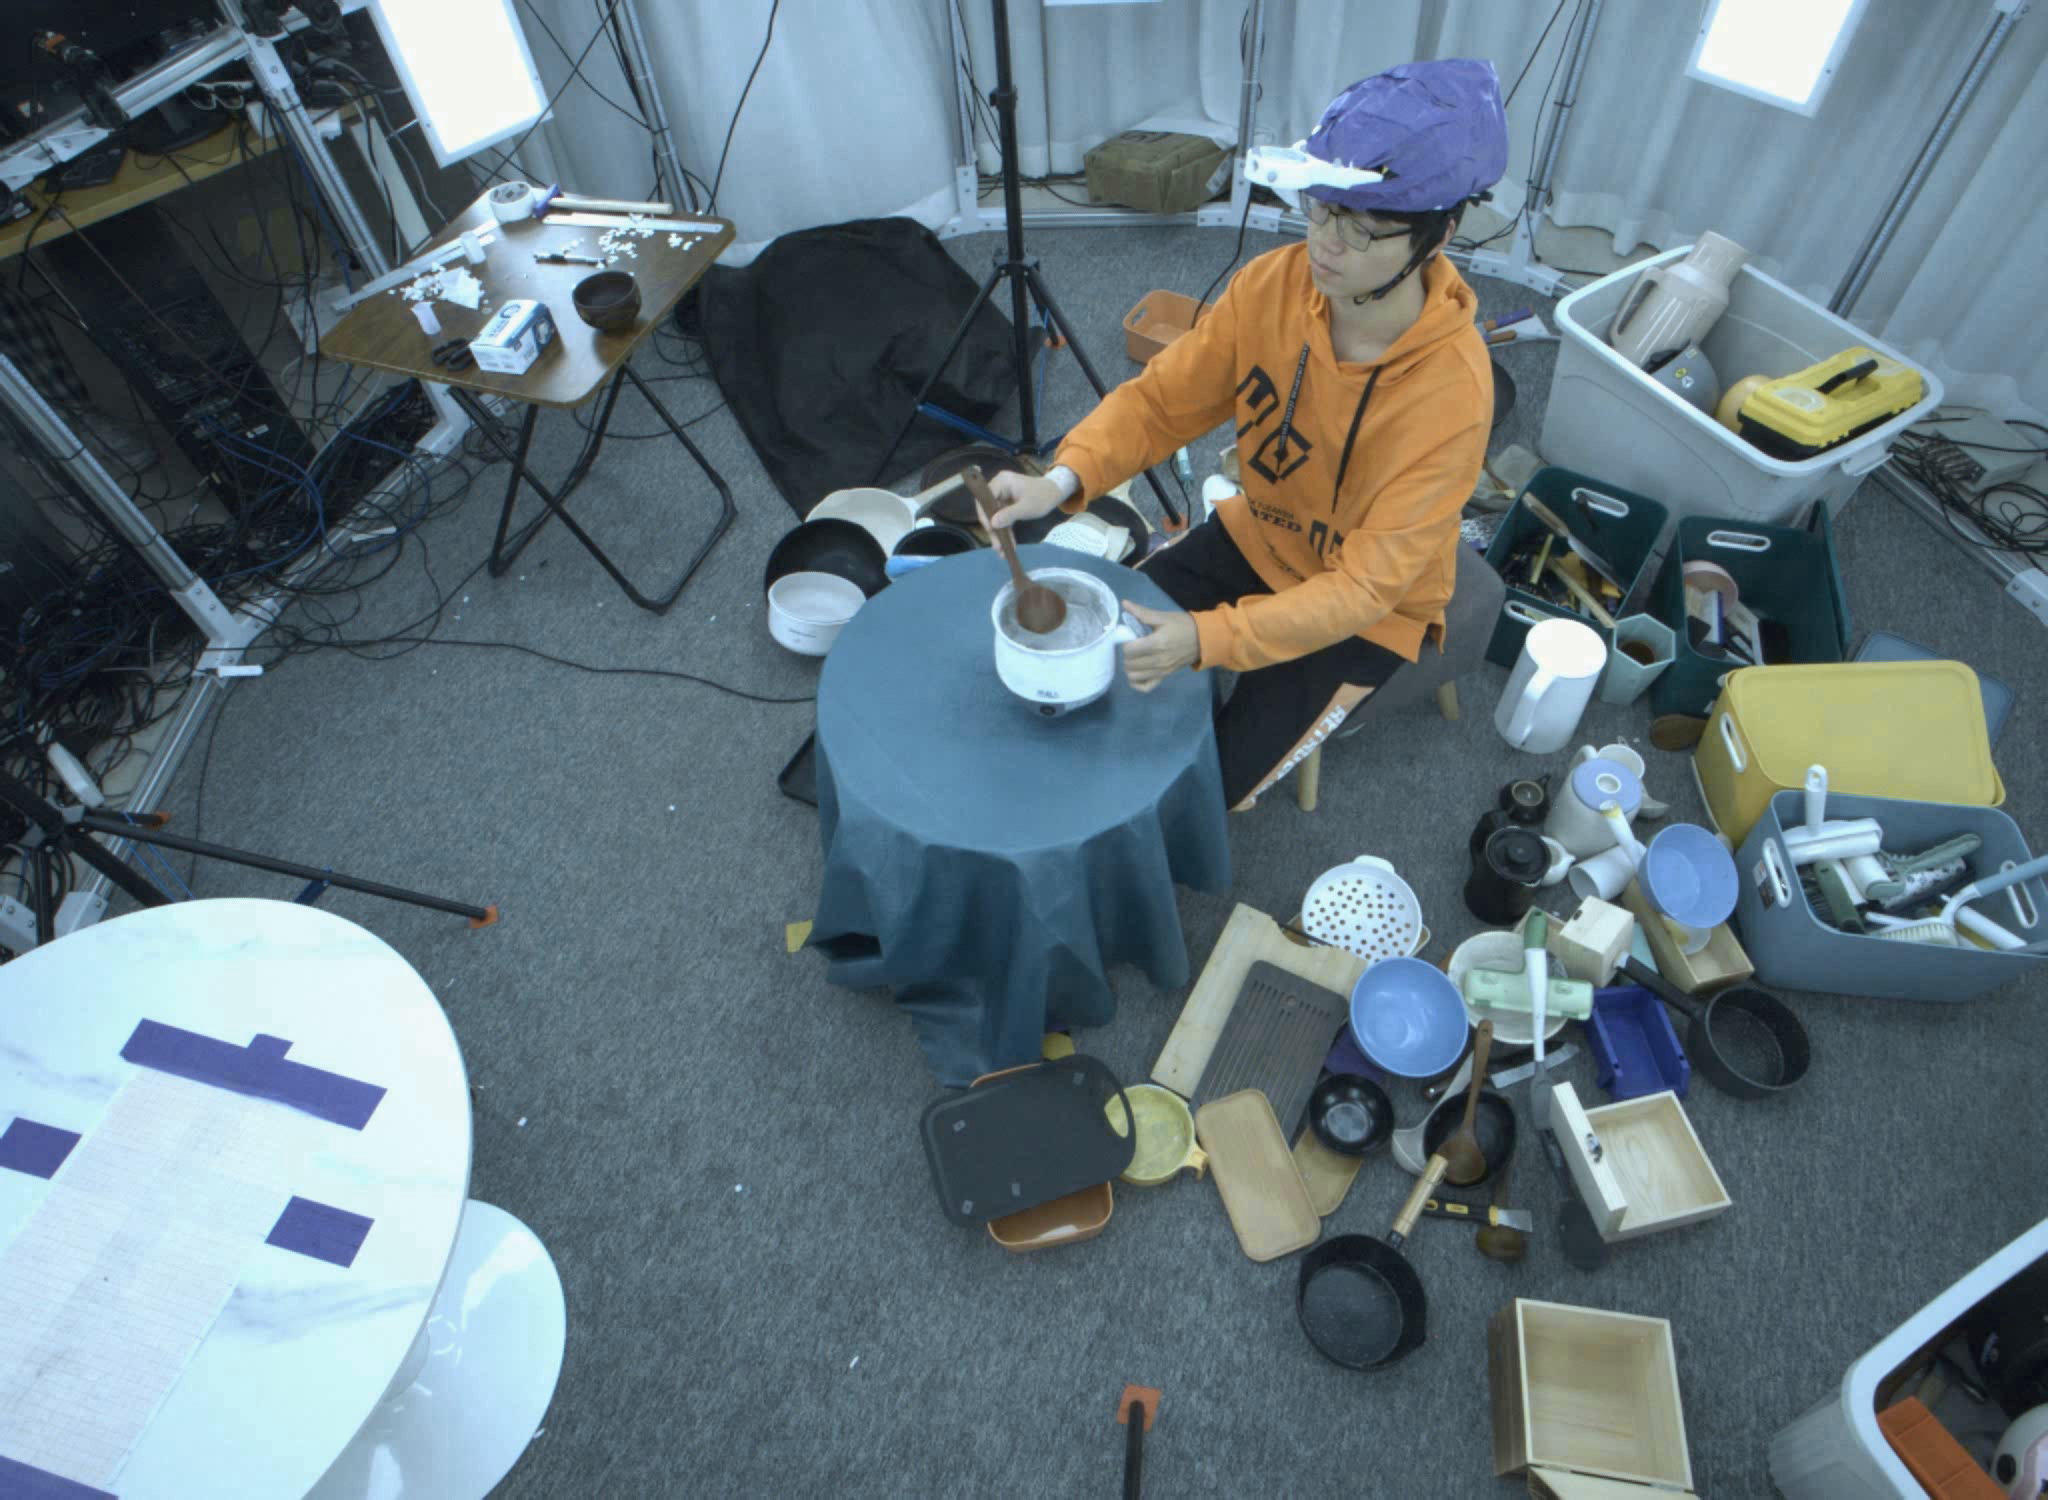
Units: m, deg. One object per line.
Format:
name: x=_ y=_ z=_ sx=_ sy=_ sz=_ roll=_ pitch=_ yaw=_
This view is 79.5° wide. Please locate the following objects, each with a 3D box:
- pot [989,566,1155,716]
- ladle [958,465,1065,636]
pot: x=0.070 y=-0.153 z=1.755 sx=0.233 sy=0.138 sz=0.177 roll=4 pitch=52 yaw=6
ladle: x=-0.021 y=-0.280 z=1.699 sx=0.077 sy=0.263 sz=0.064 roll=-35 pitch=21 yaw=-27
